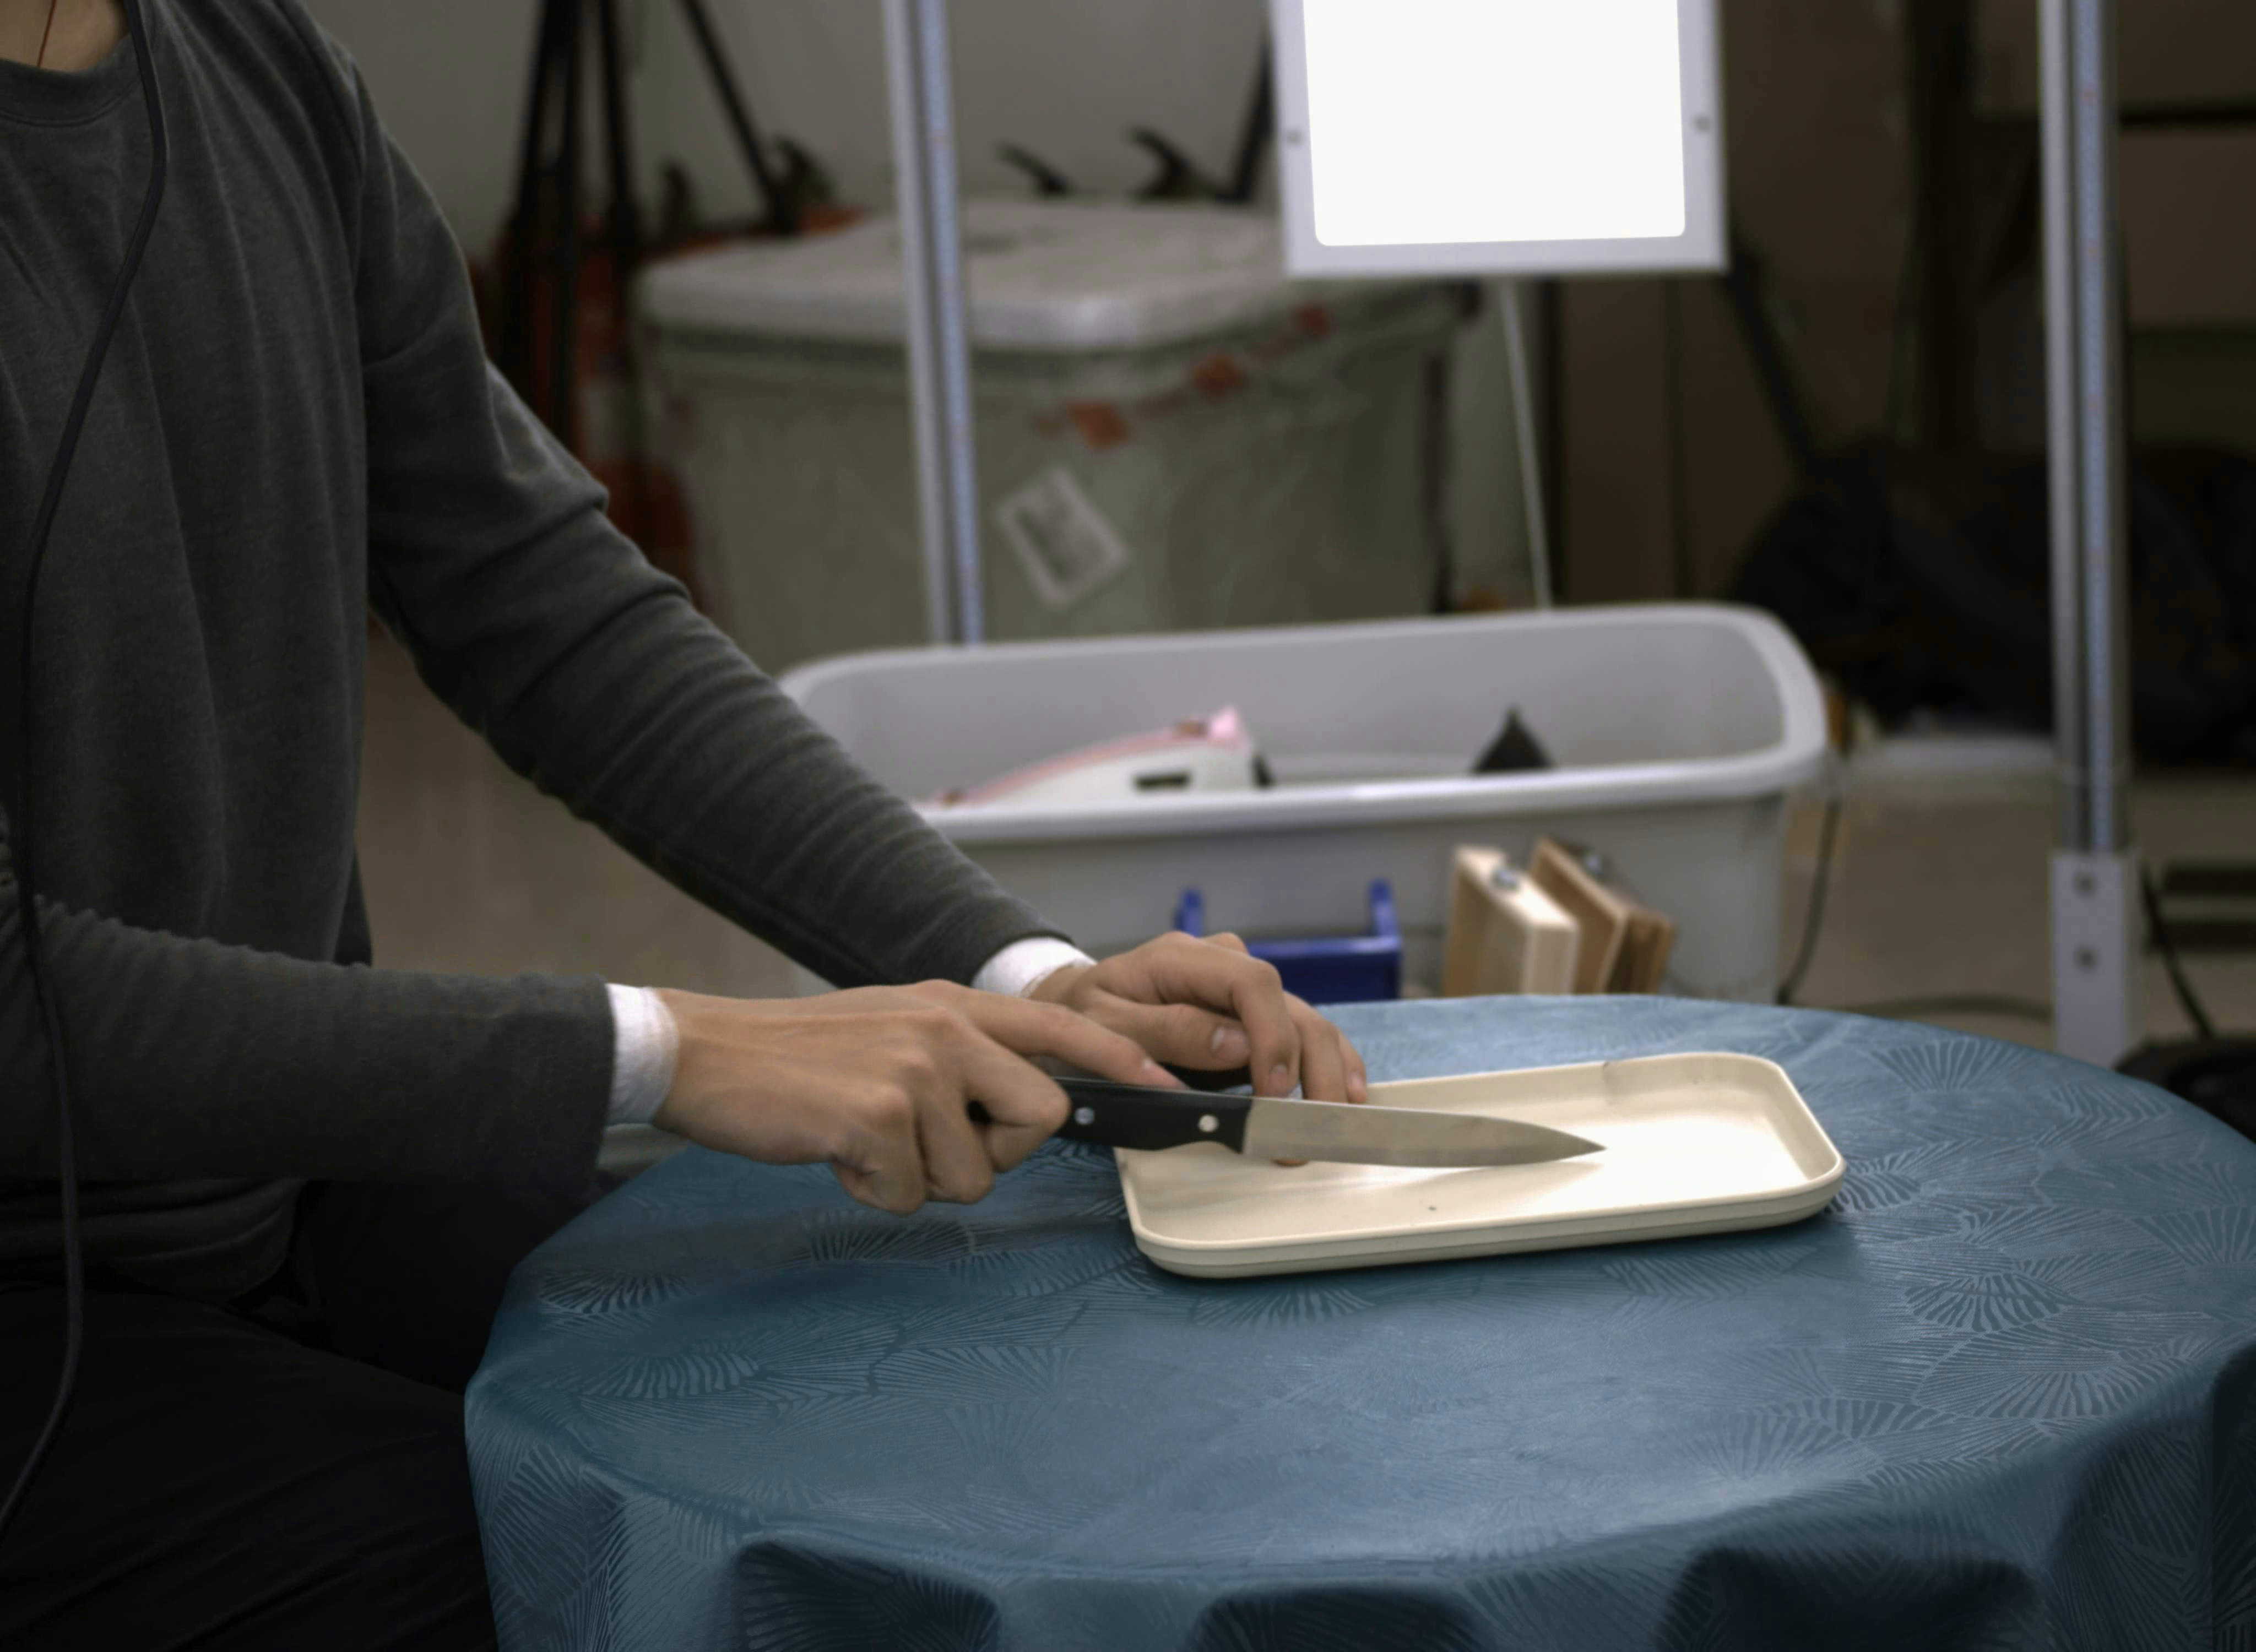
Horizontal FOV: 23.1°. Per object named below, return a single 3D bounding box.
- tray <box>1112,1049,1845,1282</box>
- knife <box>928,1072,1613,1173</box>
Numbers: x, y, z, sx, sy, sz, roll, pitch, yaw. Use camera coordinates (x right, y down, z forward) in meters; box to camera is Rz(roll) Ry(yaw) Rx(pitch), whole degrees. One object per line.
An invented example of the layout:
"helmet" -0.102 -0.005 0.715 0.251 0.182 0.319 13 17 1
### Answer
"tray" 0.117 0.116 1.869 0.239 0.017 0.171 -5 14 -1
"knife" 0.051 0.101 1.876 0.236 0.024 0.016 5 20 -4
